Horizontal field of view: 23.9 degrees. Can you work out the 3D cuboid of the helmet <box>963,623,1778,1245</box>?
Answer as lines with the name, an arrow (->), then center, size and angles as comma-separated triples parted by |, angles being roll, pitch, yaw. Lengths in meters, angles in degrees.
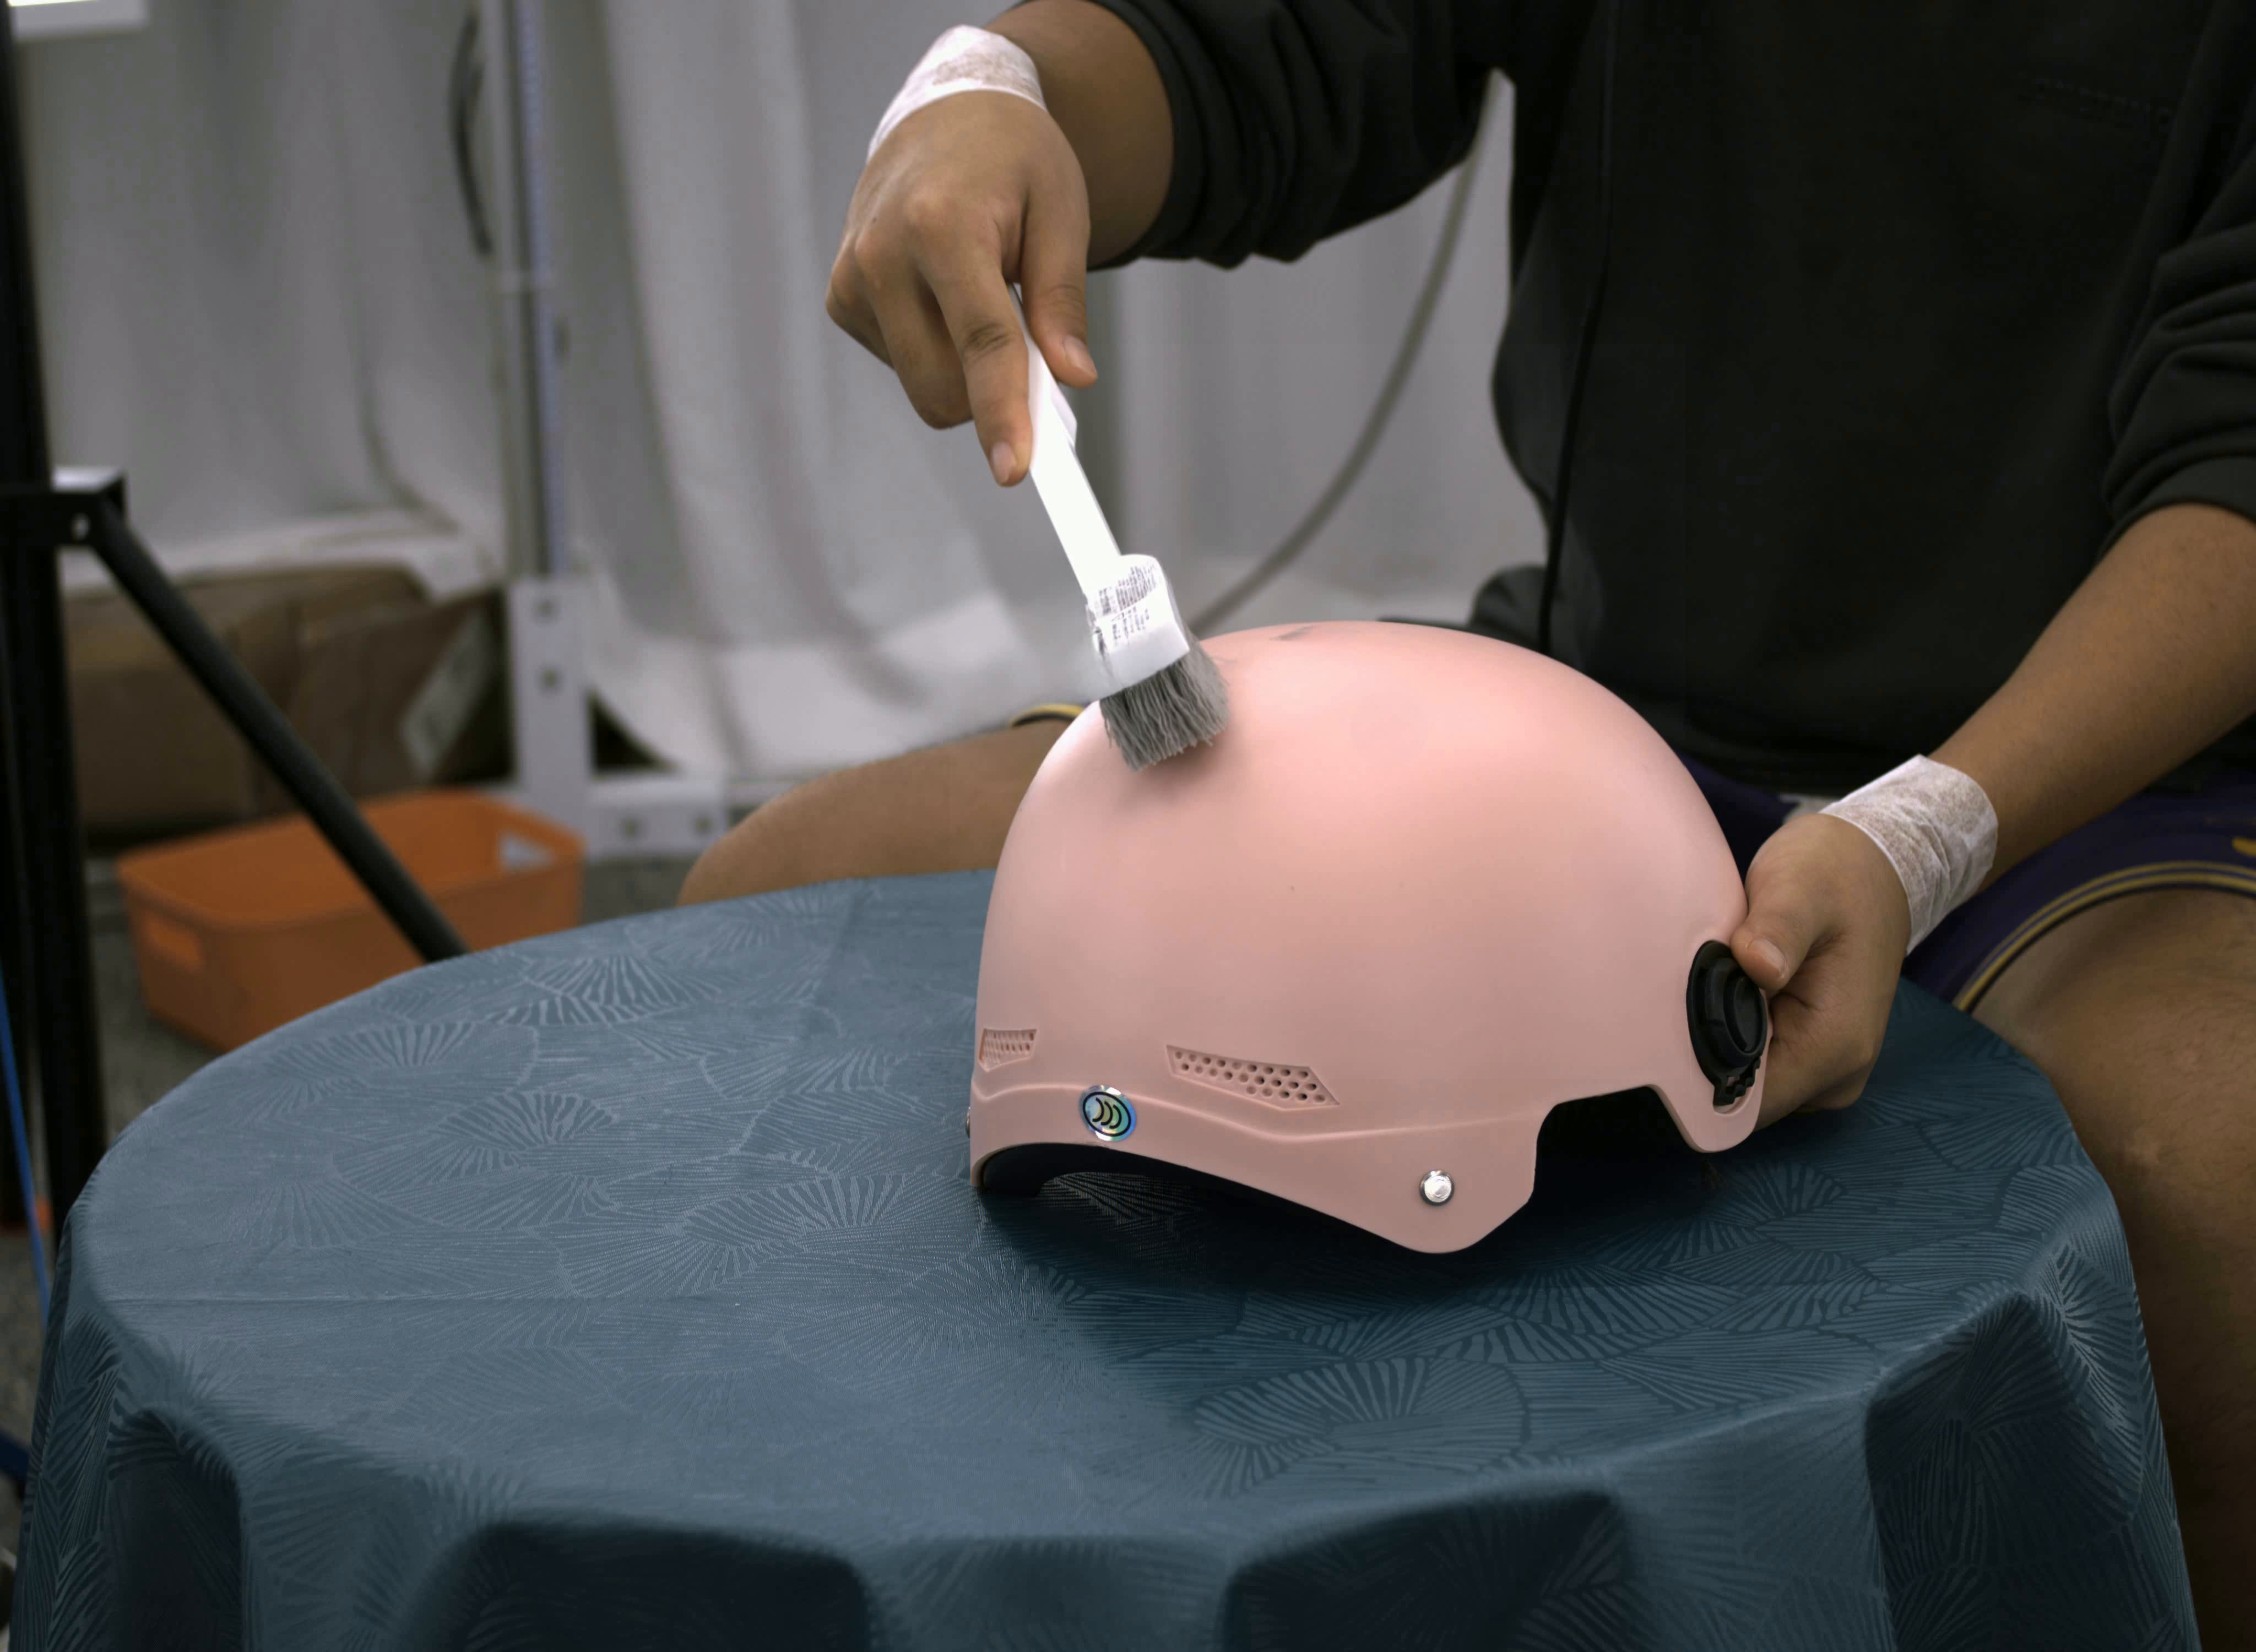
helmet -> 0.072, 0.019, 1.565 | 0.239, 0.159, 0.260 | 4, 12, 40

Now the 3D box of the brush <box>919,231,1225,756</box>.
brush -> -0.018, -0.099, 1.565 | 0.034, 0.049, 0.248 | -28, 37, 3
